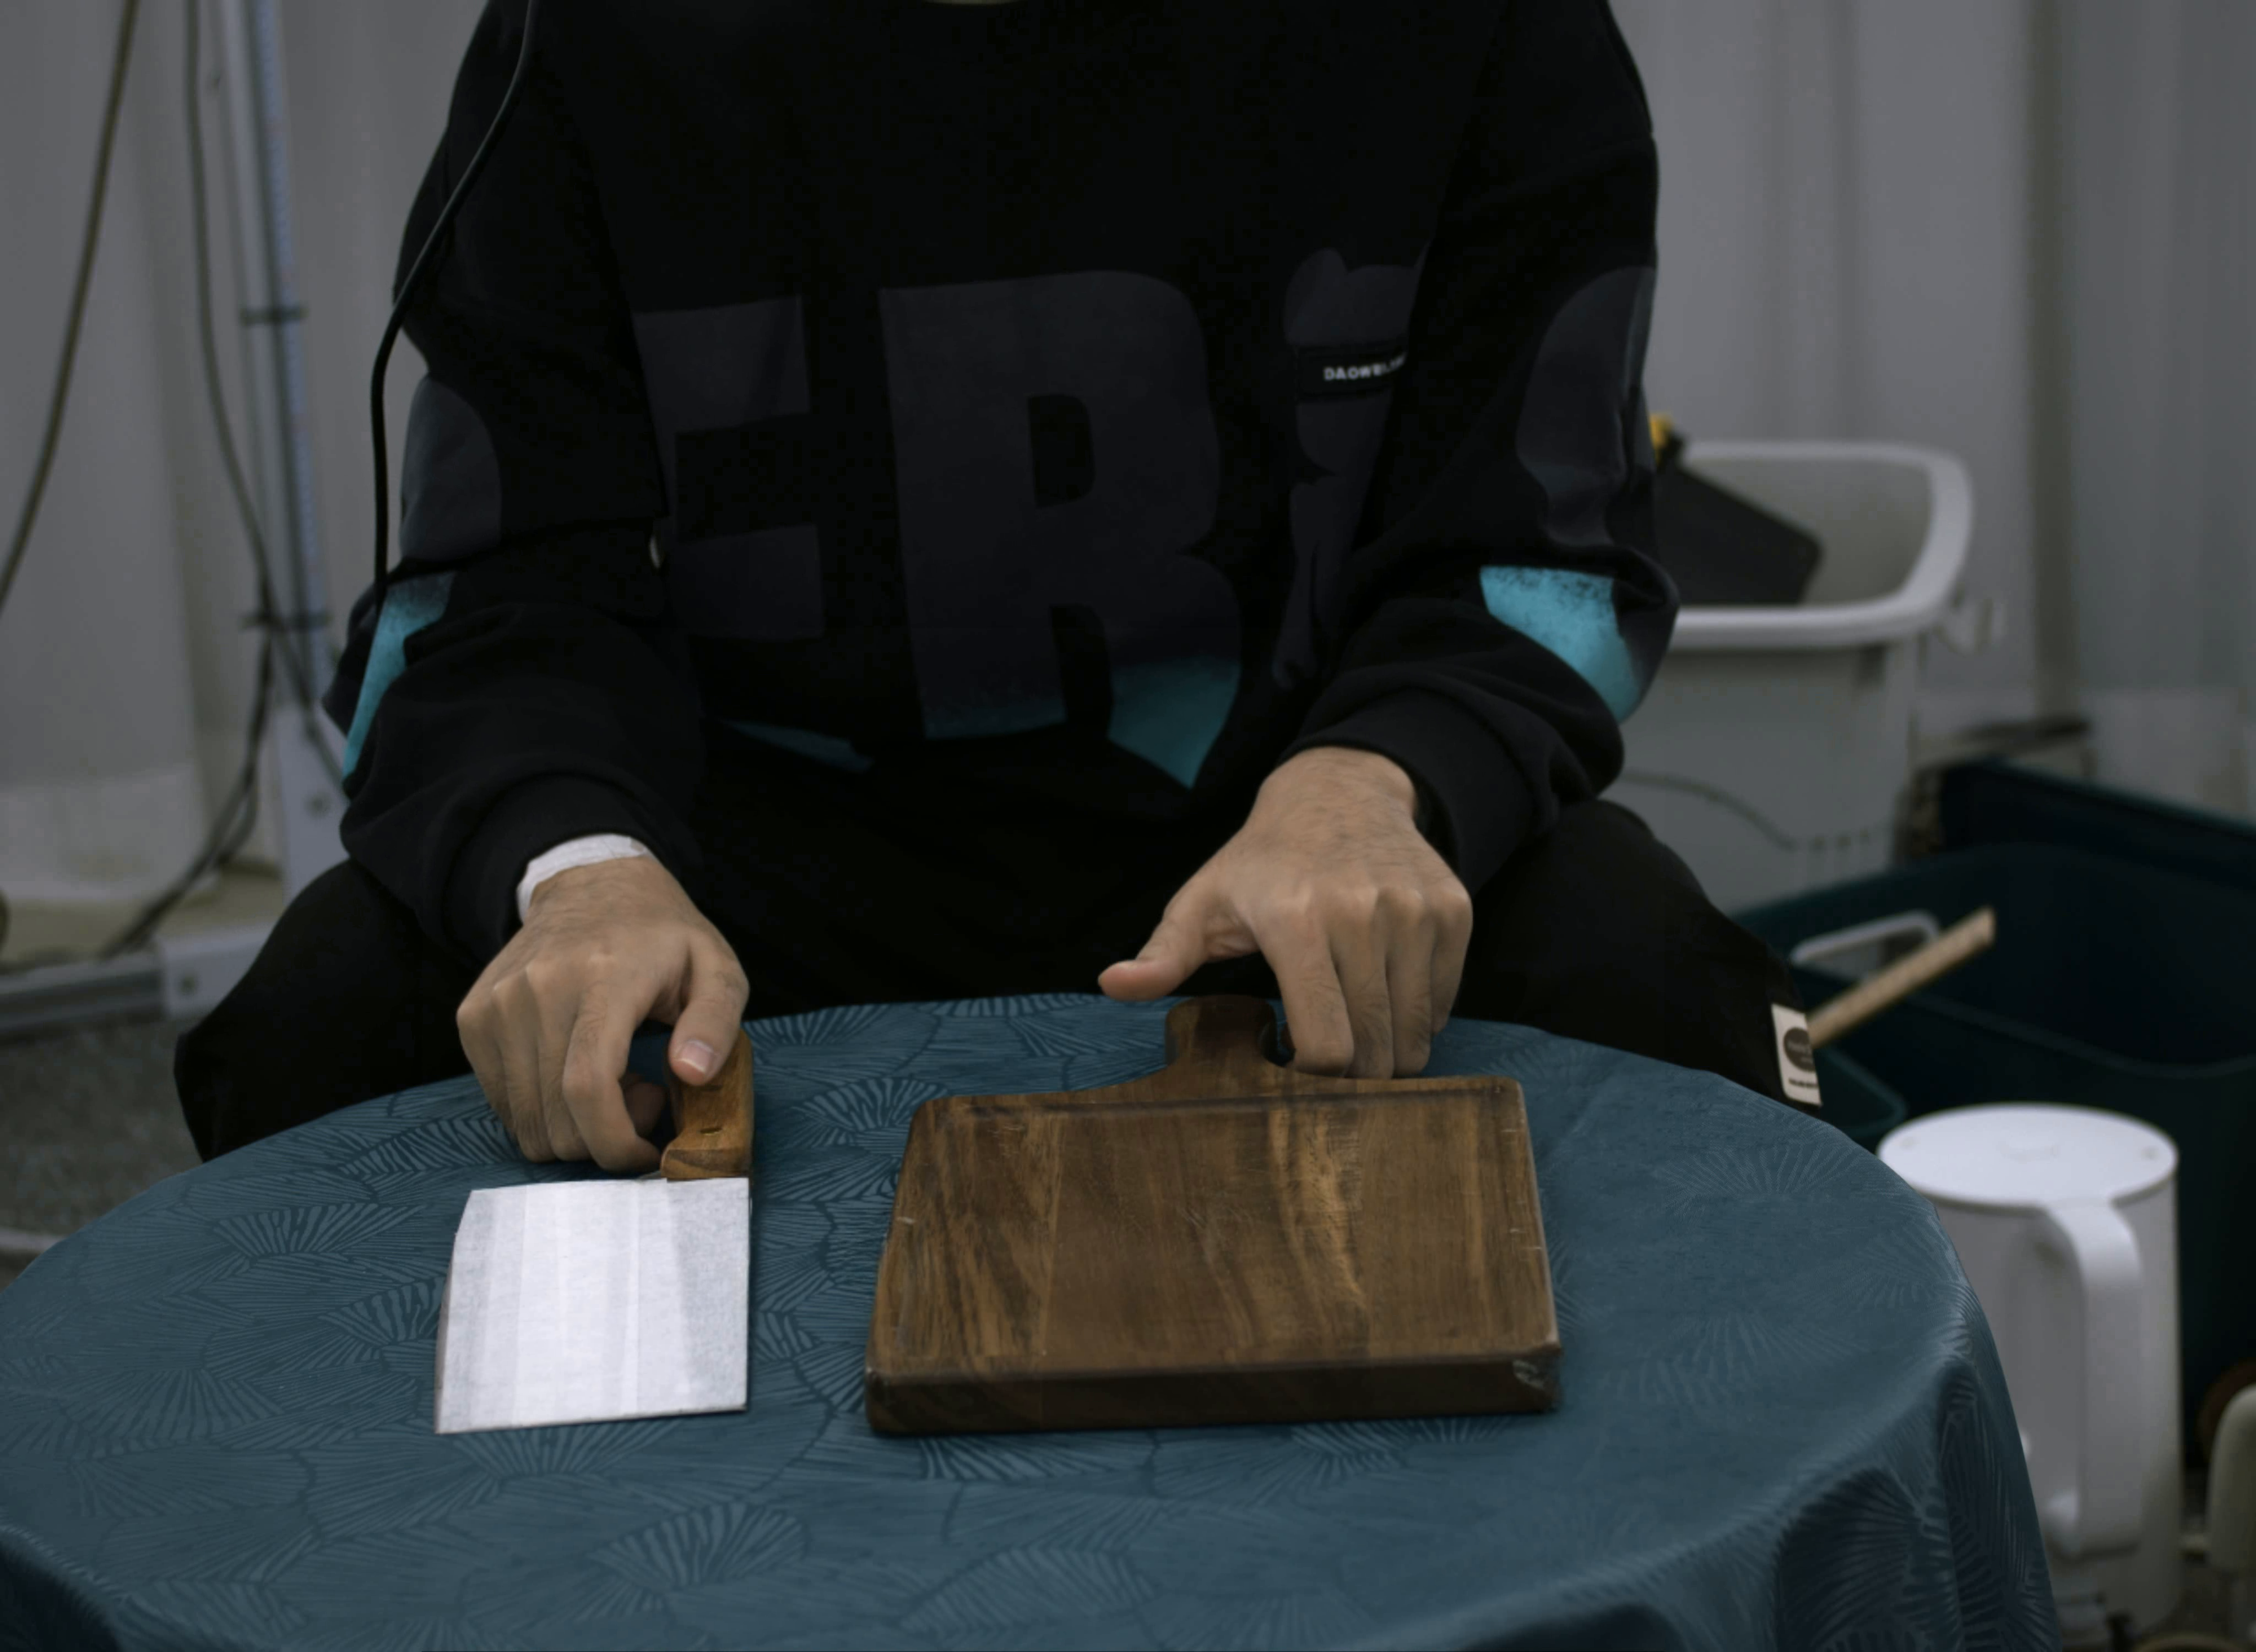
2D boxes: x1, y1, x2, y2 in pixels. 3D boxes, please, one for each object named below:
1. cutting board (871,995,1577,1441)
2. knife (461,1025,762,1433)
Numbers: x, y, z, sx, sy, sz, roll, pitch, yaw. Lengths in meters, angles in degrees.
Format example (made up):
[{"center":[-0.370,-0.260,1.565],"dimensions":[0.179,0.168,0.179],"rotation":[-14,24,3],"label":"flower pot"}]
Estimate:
[{"center":[0.027,0.112,1.679],"dimensions":[0.200,0.023,0.354],"rotation":[-3,15,2],"label":"cutting board"},{"center":[-0.159,0.123,1.687],"dimensions":[0.092,0.021,0.308],"rotation":[-5,18,-2],"label":"knife"}]
